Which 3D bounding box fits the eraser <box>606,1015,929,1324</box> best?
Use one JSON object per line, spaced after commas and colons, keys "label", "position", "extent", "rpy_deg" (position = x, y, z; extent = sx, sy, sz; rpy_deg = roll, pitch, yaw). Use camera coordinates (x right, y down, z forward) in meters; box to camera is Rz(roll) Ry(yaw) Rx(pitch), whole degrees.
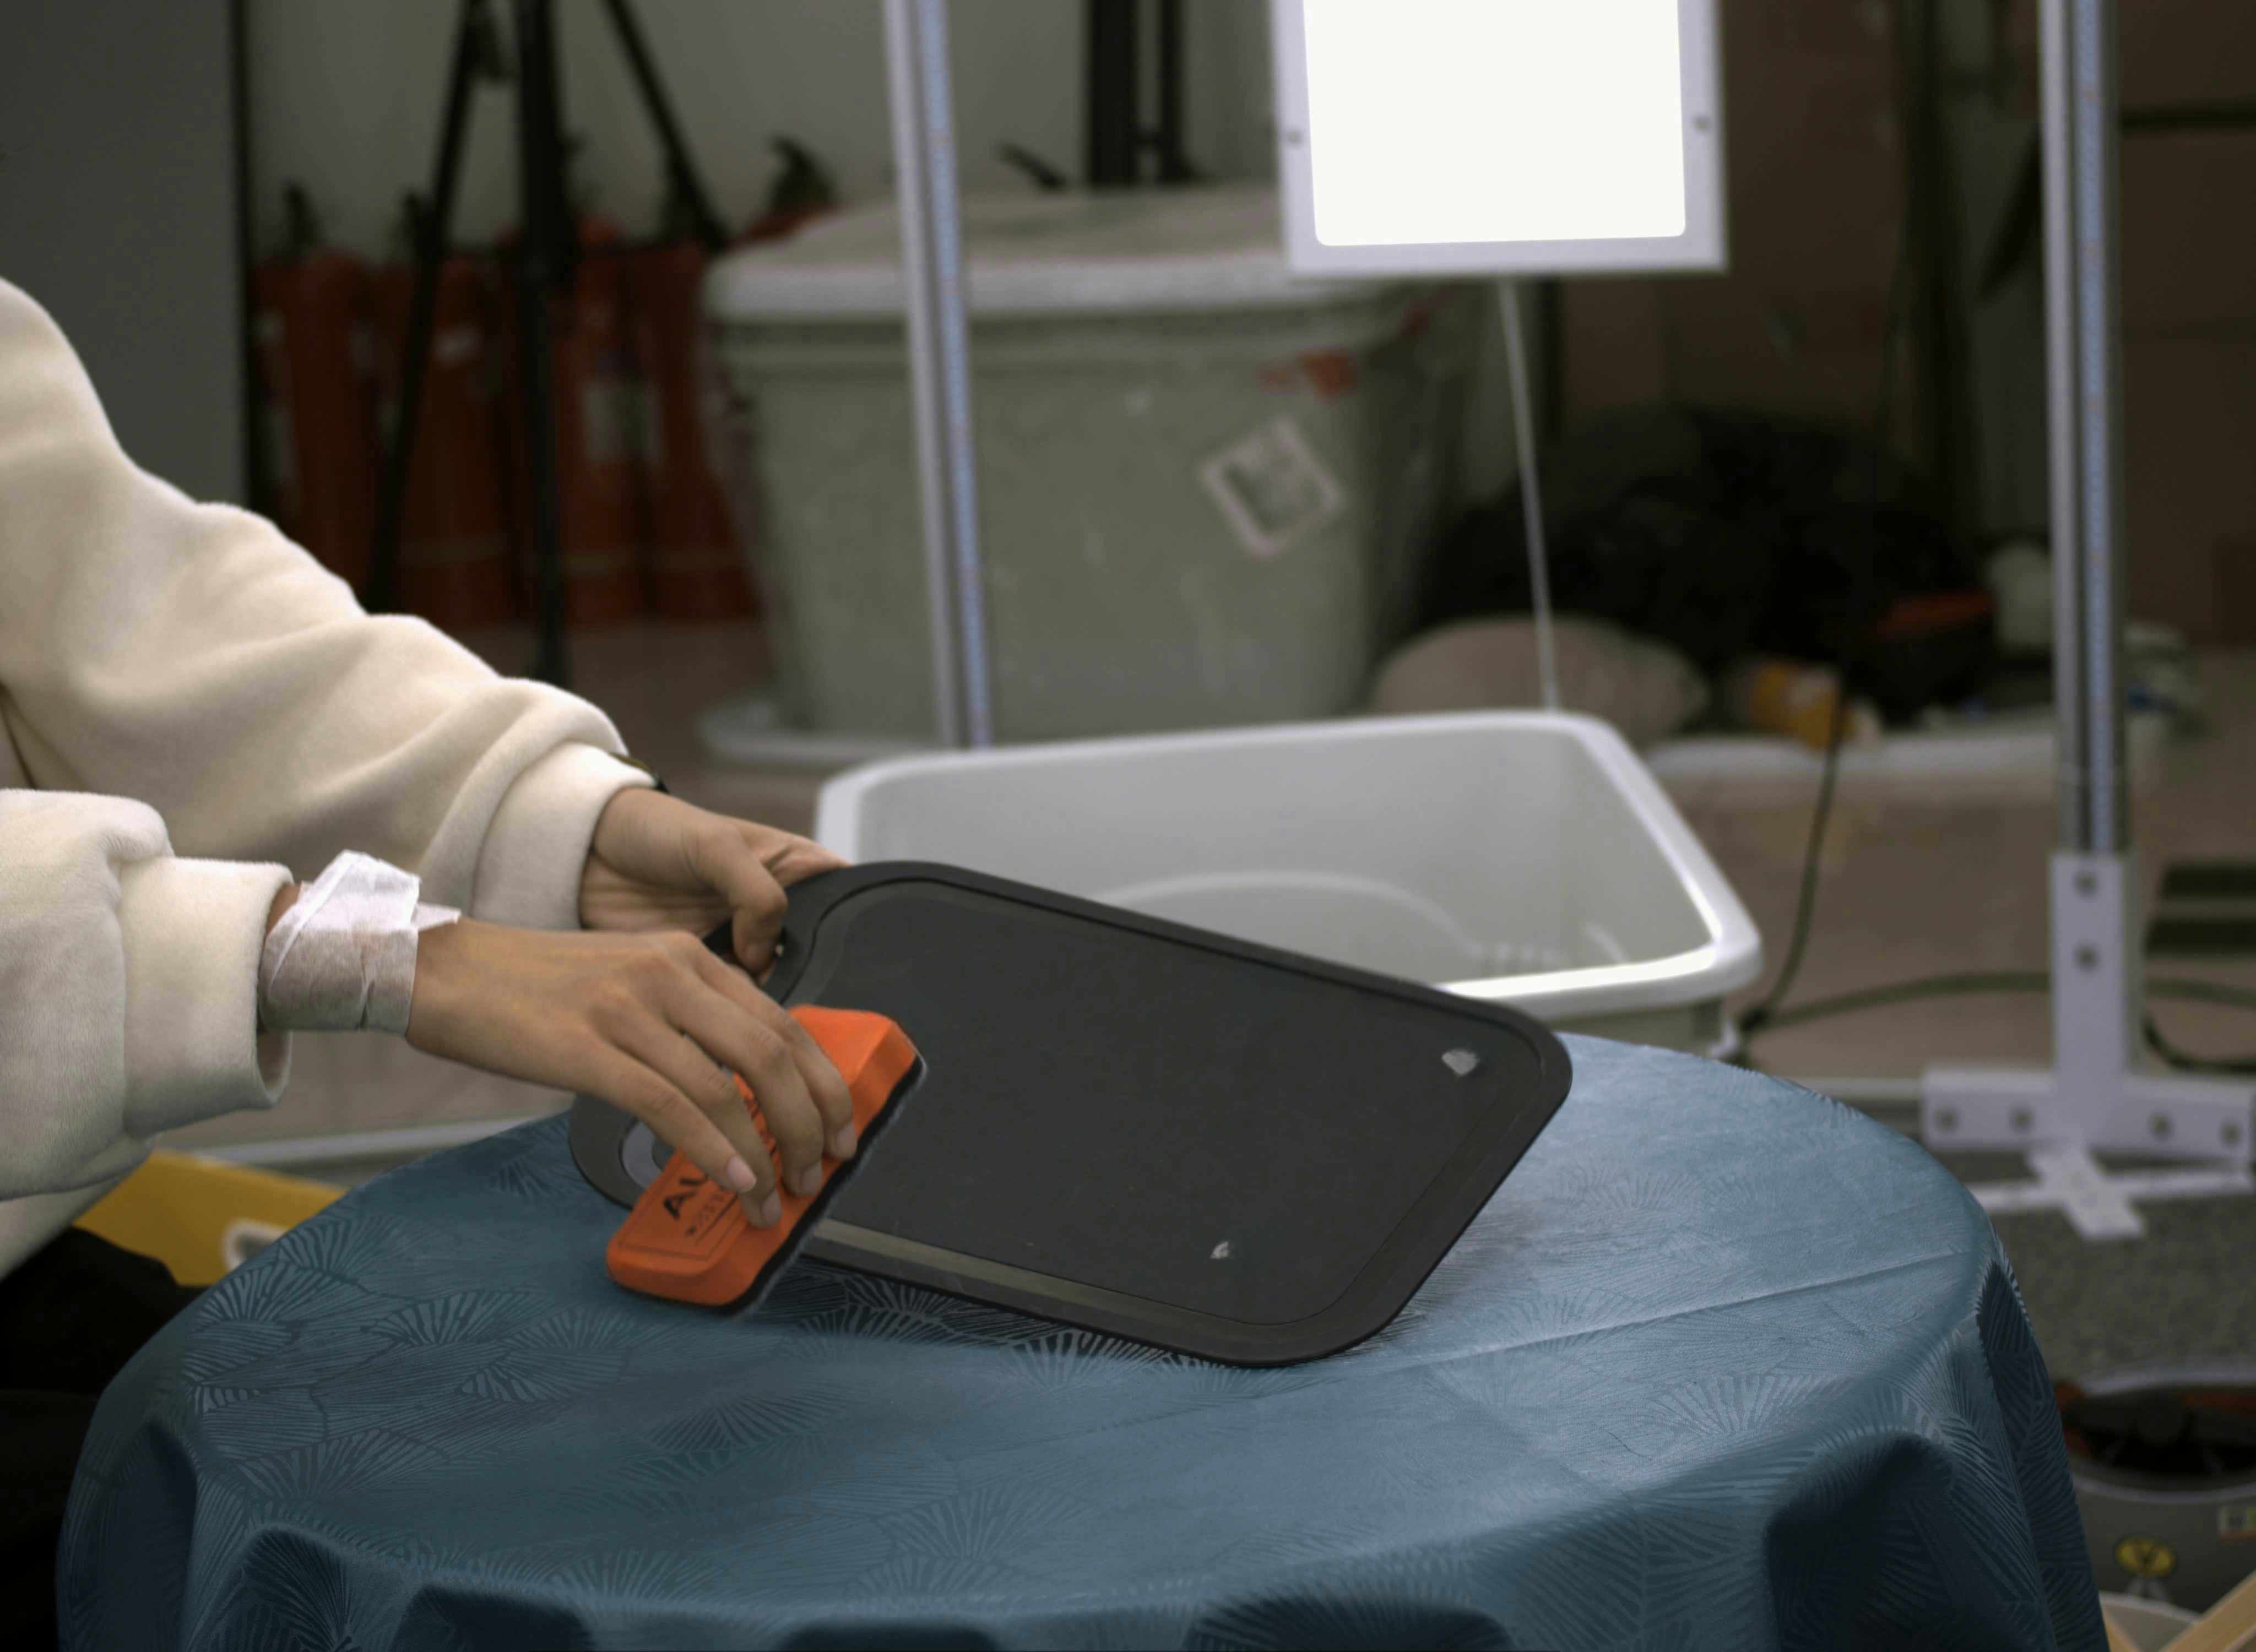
{"label": "eraser", "position": [-0.111, 0.106, 1.710], "extent": [0.060, 0.022, 0.106], "rpy_deg": [5, 50, 49]}

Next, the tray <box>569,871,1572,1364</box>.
{"label": "tray", "position": [-0.028, 0.090, 1.844], "extent": [0.331, 0.010, 0.207], "rpy_deg": [12, 39, 29]}
